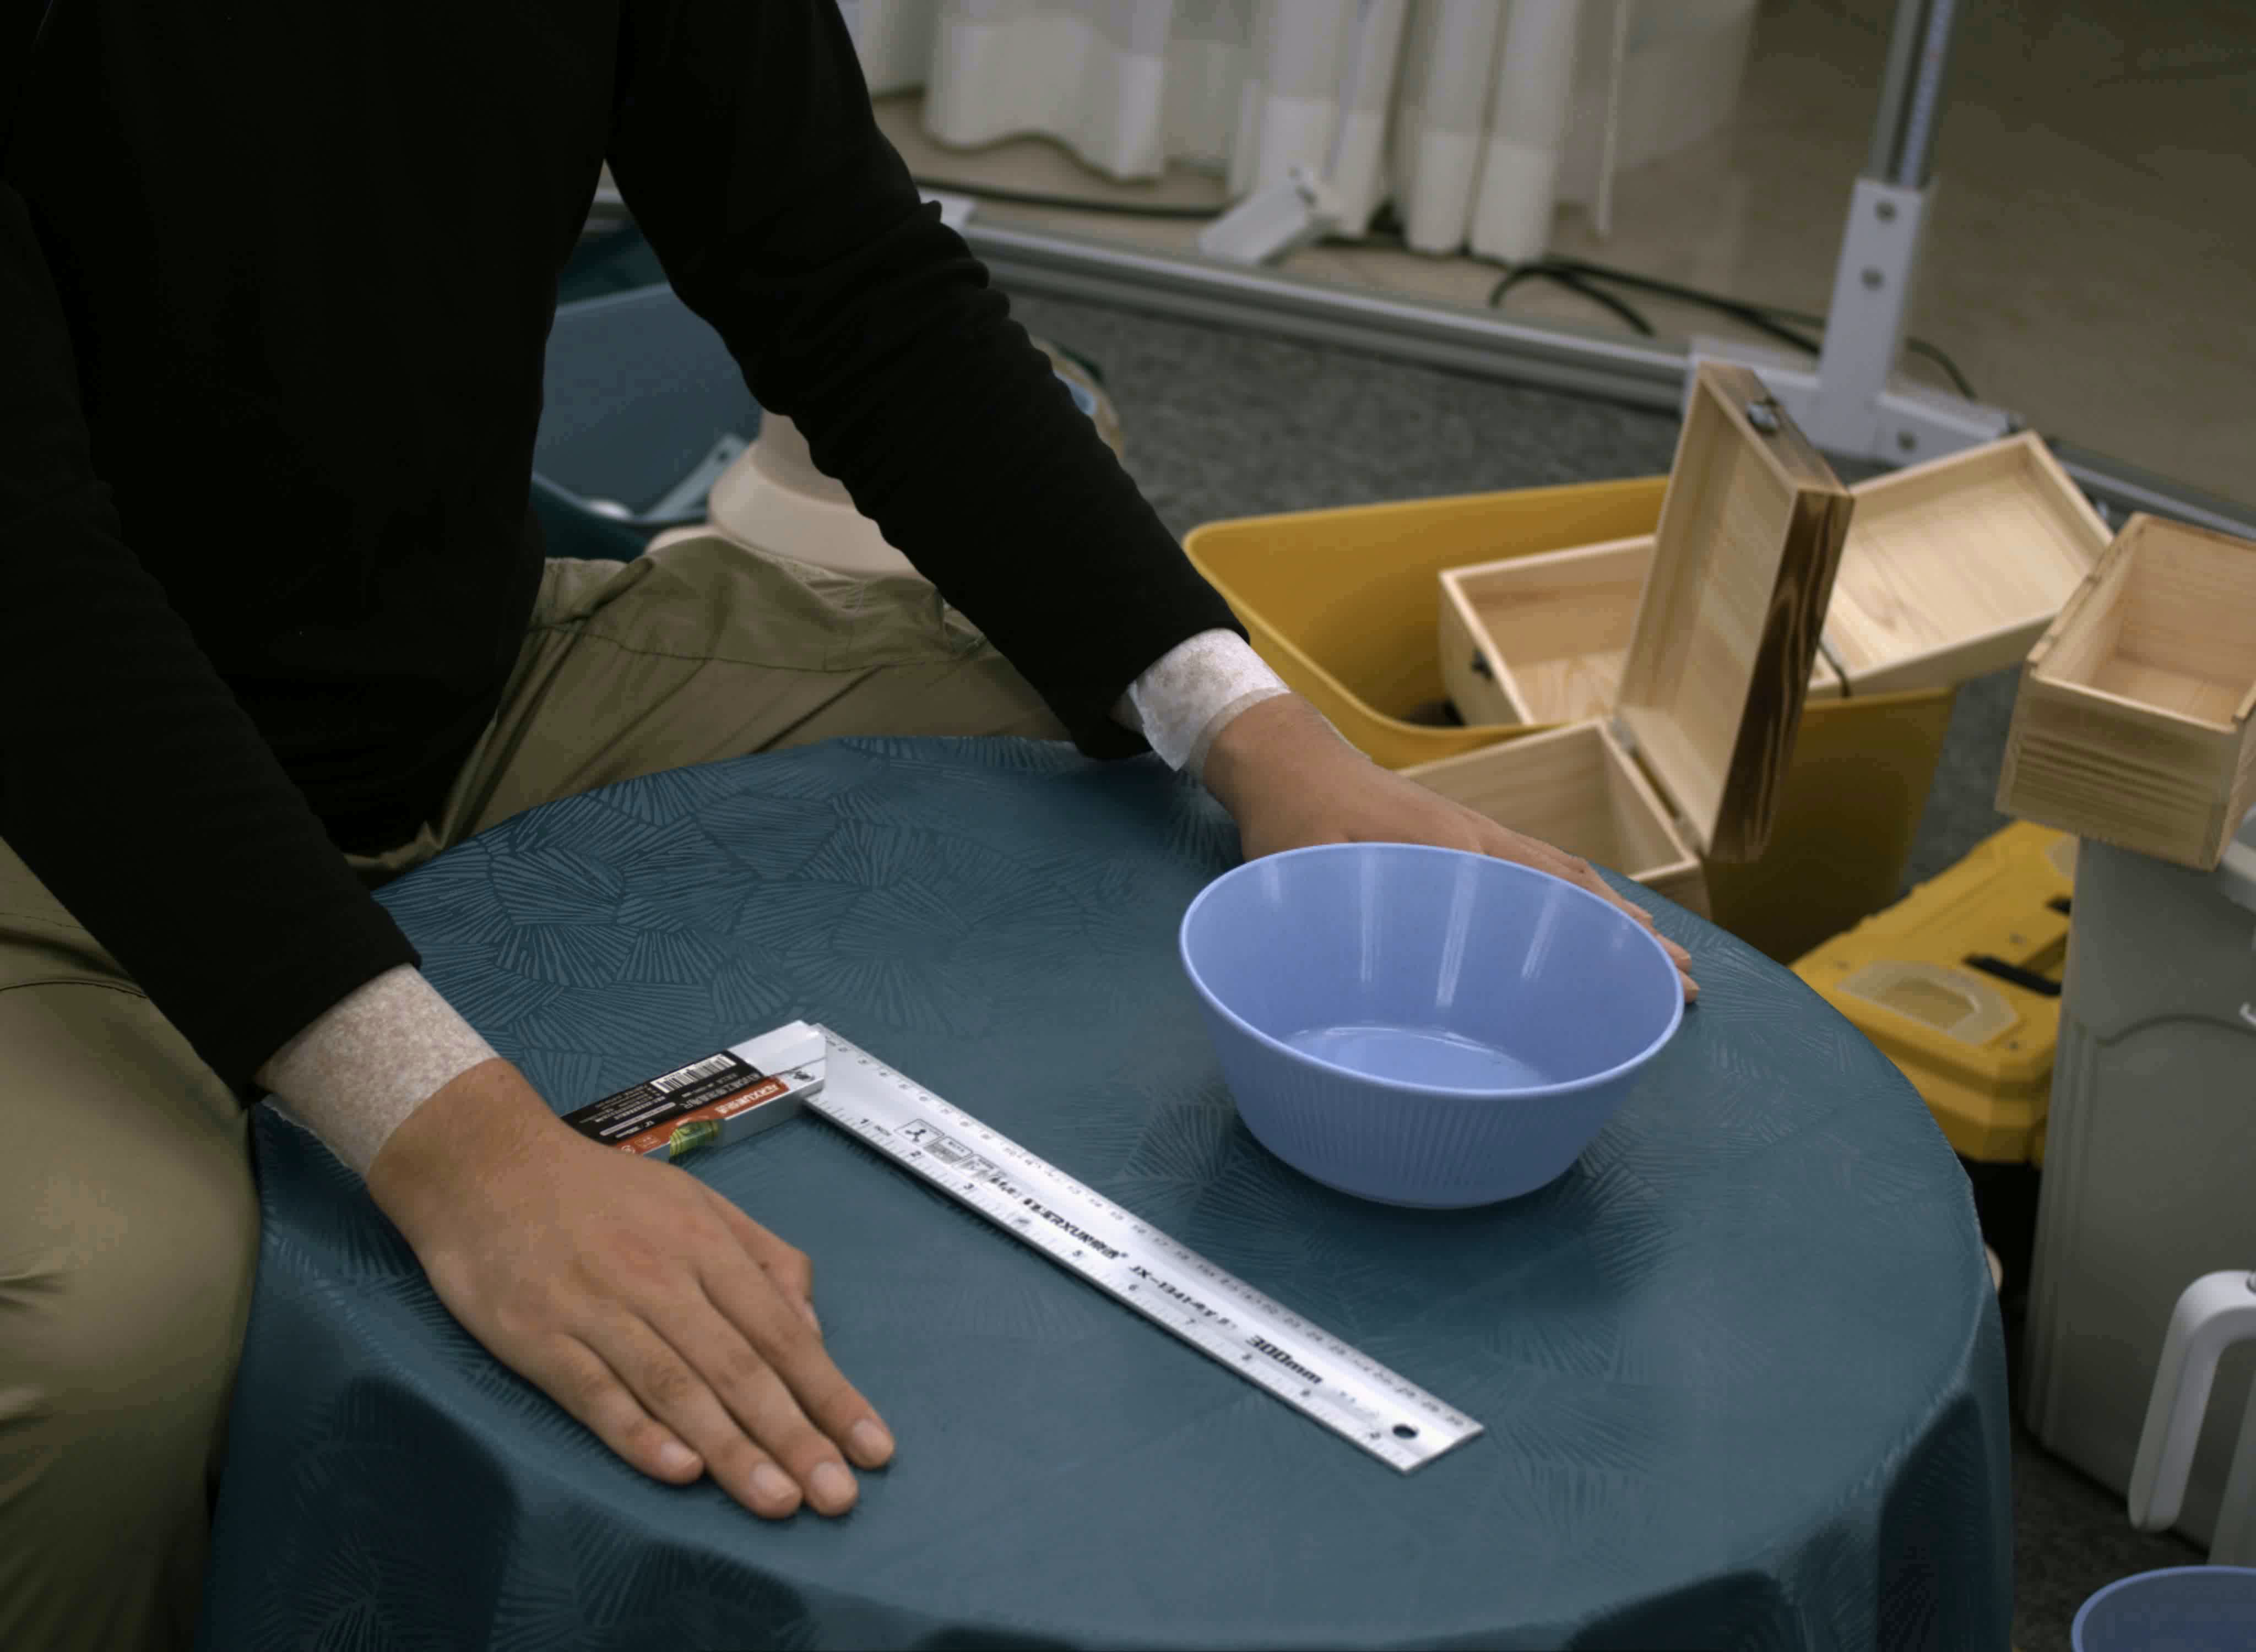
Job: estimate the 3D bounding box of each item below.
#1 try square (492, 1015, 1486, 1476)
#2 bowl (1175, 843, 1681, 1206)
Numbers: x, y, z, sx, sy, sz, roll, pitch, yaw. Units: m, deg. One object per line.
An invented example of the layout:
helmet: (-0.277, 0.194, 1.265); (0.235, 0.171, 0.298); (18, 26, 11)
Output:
try square: (-0.050, 0.153, 1.732); (0.315, 0.016, 0.151); (29, 38, 35)
bowl: (0.100, 0.075, 1.844); (0.175, 0.070, 0.177); (5, 27, -3)
